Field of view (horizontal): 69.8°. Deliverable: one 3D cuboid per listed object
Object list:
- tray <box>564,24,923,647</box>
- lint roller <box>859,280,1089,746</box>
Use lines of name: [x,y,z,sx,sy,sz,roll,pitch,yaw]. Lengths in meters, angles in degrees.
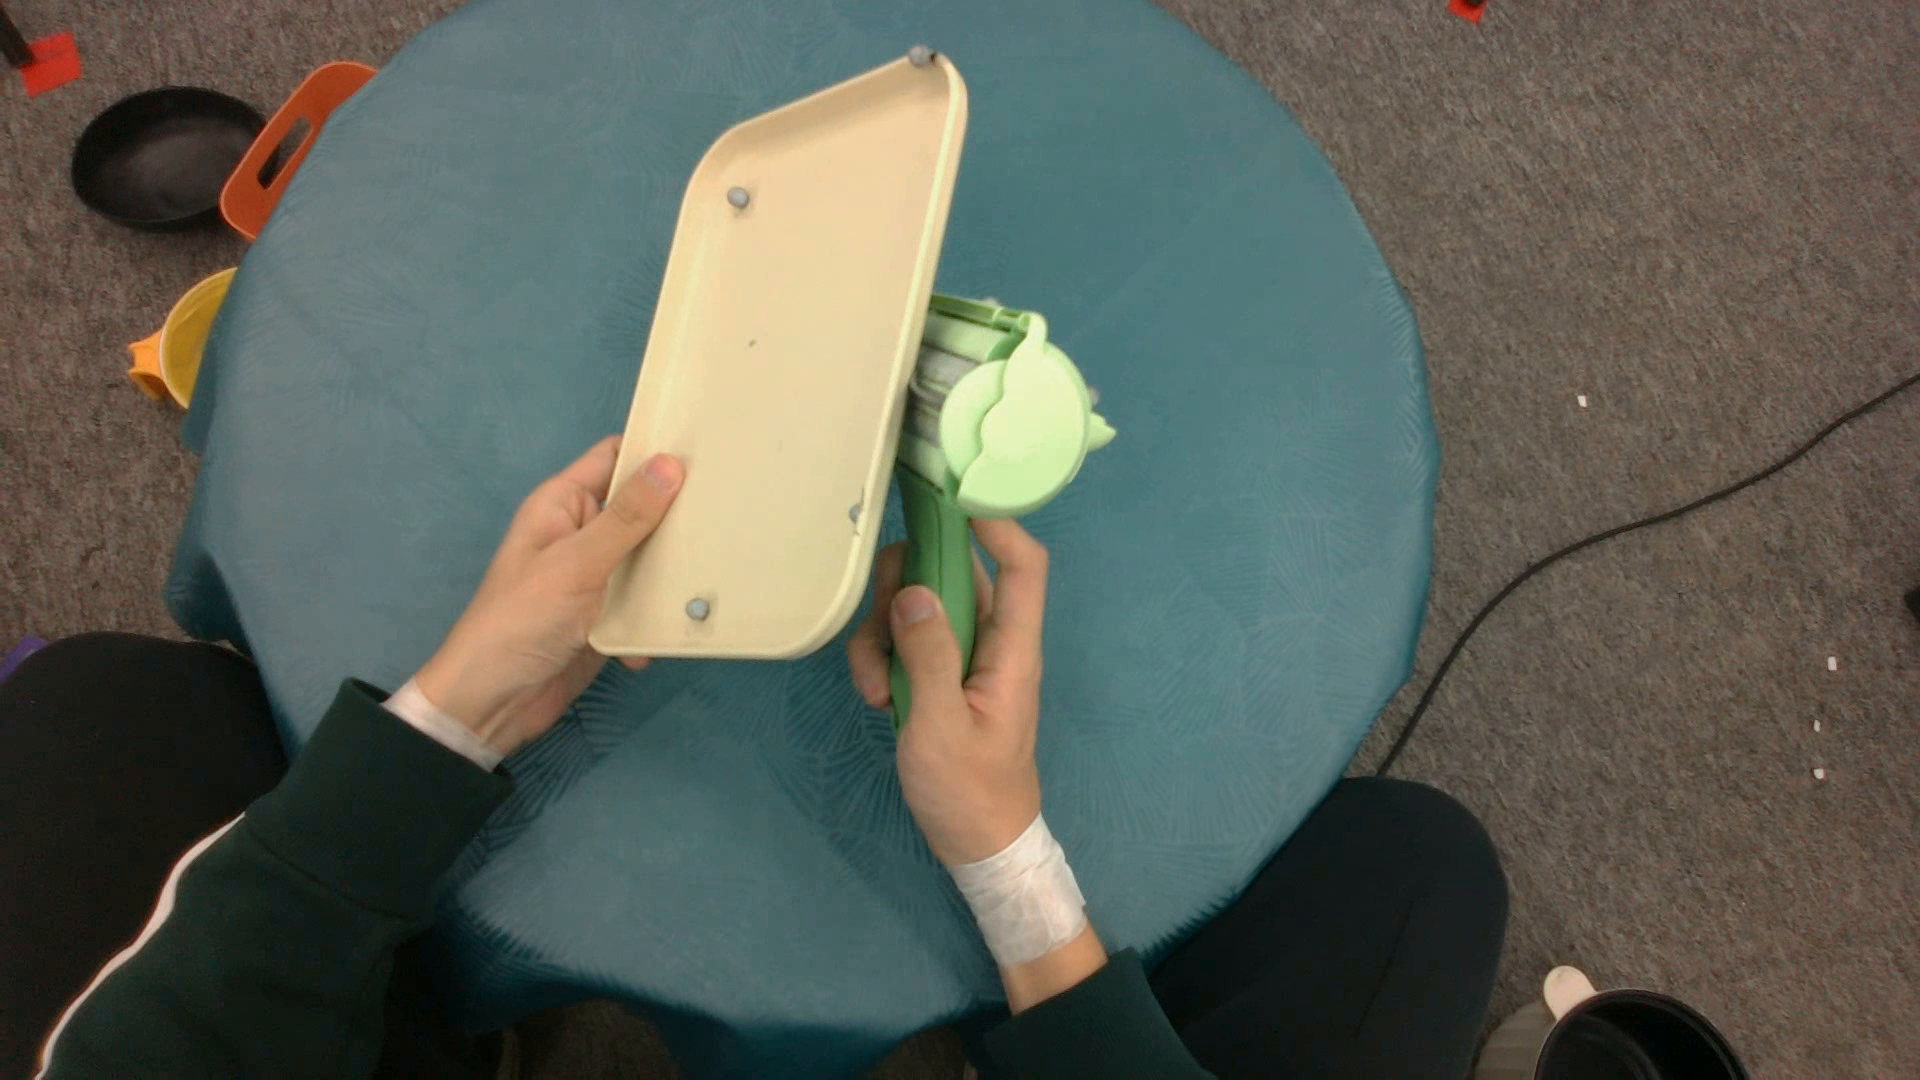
tray: [-0.085,-0.076,0.538,0.017,0.171,0.240,22,69,-42]
lint roller: [-0.004,-0.009,0.552,0.082,0.198,0.183,-13,107,-14]
